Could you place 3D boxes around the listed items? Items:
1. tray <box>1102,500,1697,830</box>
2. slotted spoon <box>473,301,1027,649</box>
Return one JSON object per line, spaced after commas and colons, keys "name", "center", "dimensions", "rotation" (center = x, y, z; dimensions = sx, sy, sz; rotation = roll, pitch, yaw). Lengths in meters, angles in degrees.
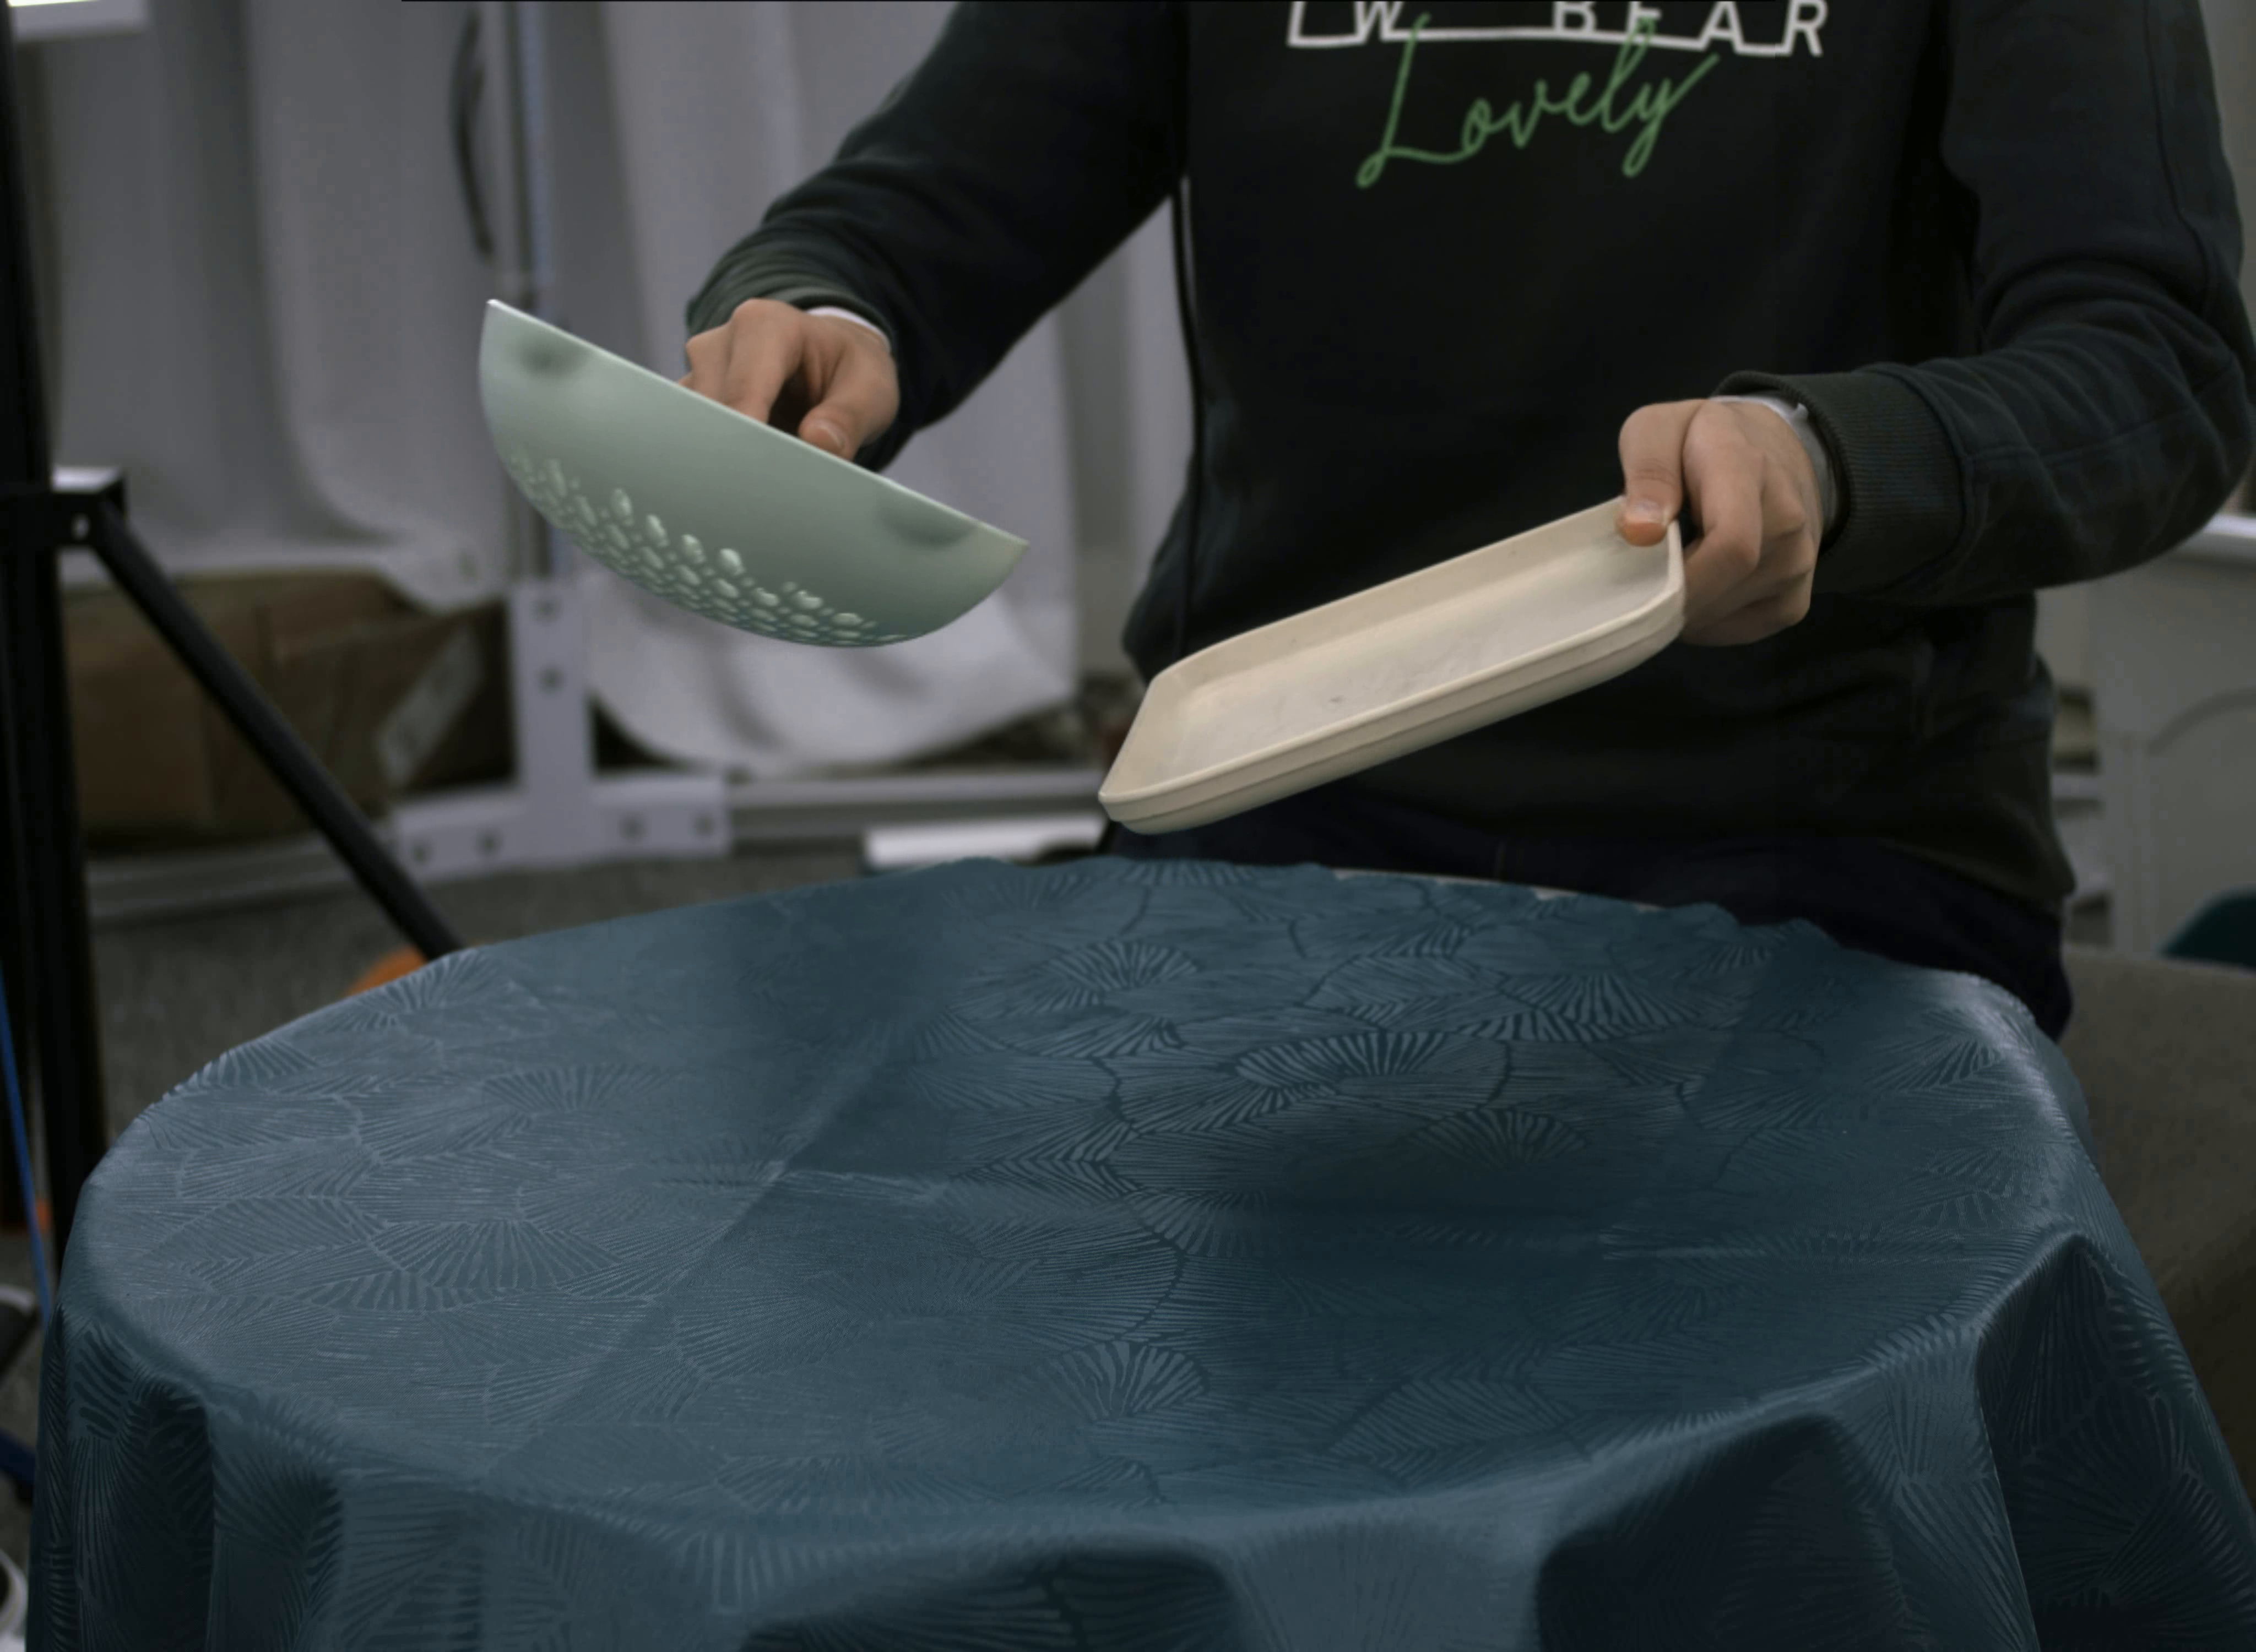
{"name": "tray", "center": [0.081, -0.046, 1.518], "dimensions": [0.172, 0.017, 0.239], "rotation": [-20, 8, 9]}
{"name": "slotted spoon", "center": [-0.109, -0.105, 1.617], "dimensions": [0.169, 0.075, 0.358], "rotation": [25, 9, 1]}
